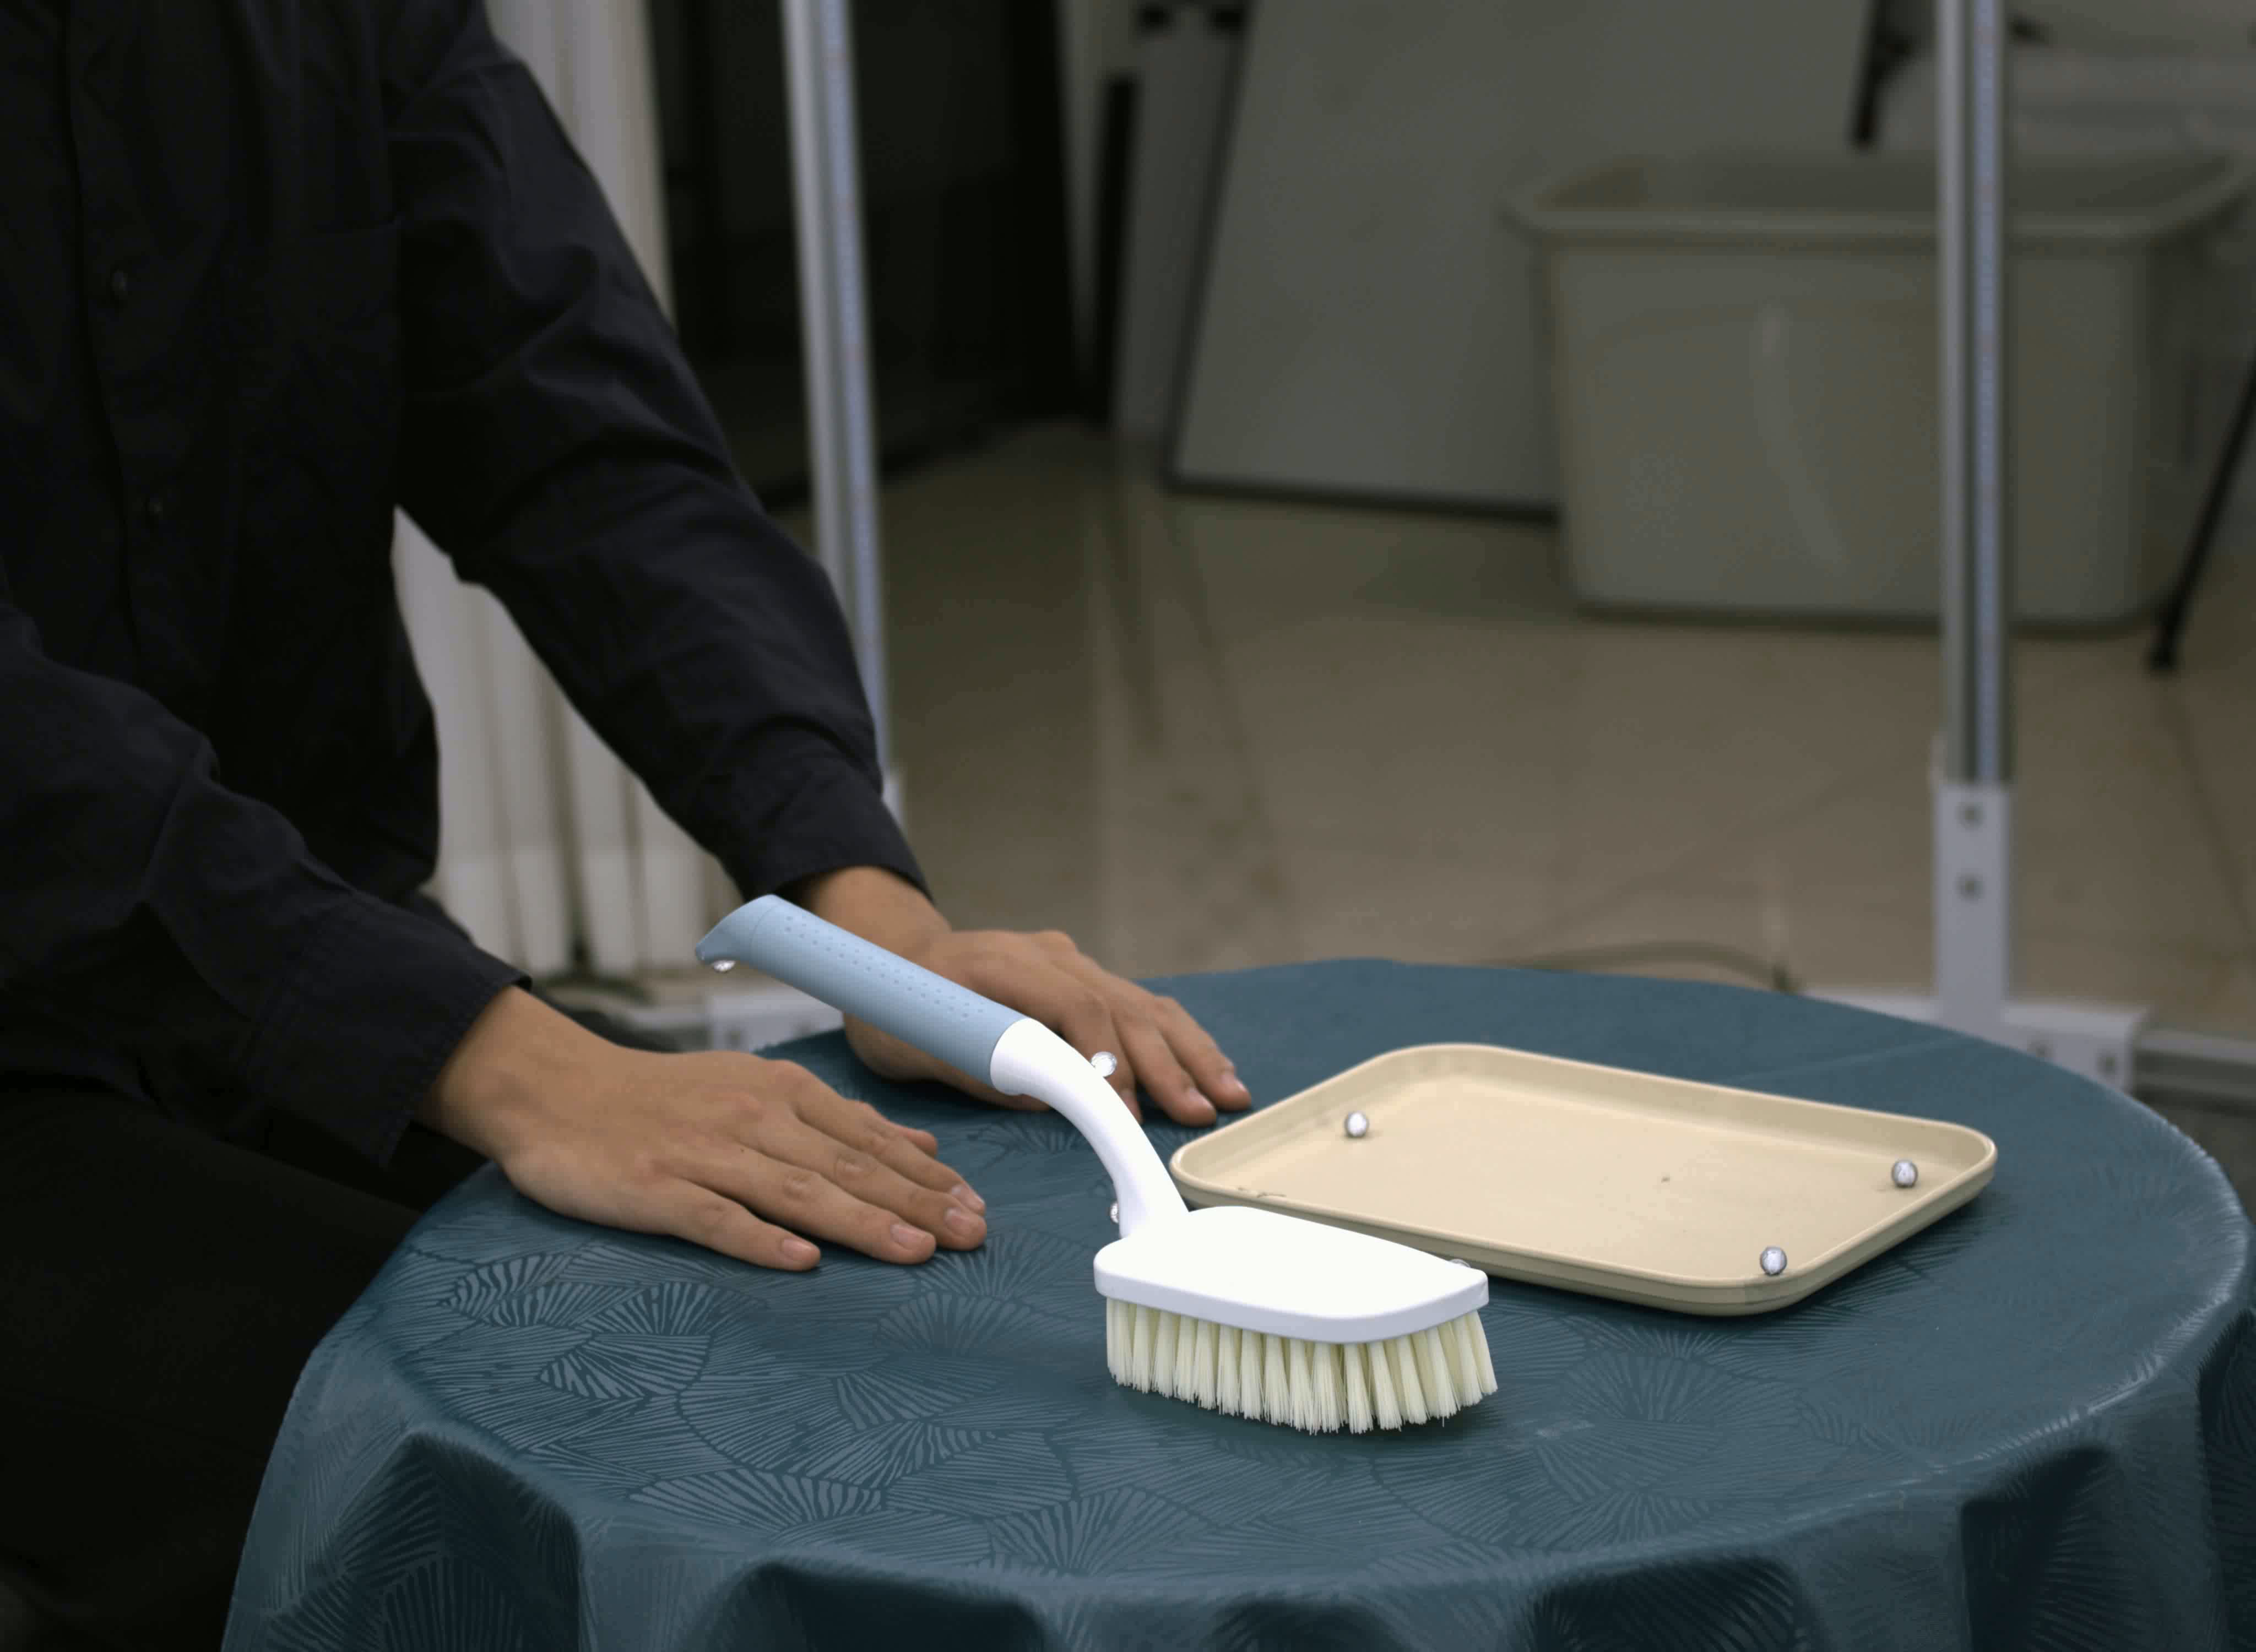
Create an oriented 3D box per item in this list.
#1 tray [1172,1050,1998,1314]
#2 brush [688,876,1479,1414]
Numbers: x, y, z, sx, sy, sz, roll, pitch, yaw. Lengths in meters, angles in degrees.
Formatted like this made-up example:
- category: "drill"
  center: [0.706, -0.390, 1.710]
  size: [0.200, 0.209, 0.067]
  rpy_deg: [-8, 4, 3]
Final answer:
- category: "tray"
  center: [0.146, 0.113, 1.728]
  size: [0.241, 0.017, 0.168]
  rpy_deg: [8, 17, 38]
- category: "brush"
  center: [-0.020, 0.110, 1.644]
  size: [0.328, 0.085, 0.082]
  rpy_deg: [24, -9, 39]
